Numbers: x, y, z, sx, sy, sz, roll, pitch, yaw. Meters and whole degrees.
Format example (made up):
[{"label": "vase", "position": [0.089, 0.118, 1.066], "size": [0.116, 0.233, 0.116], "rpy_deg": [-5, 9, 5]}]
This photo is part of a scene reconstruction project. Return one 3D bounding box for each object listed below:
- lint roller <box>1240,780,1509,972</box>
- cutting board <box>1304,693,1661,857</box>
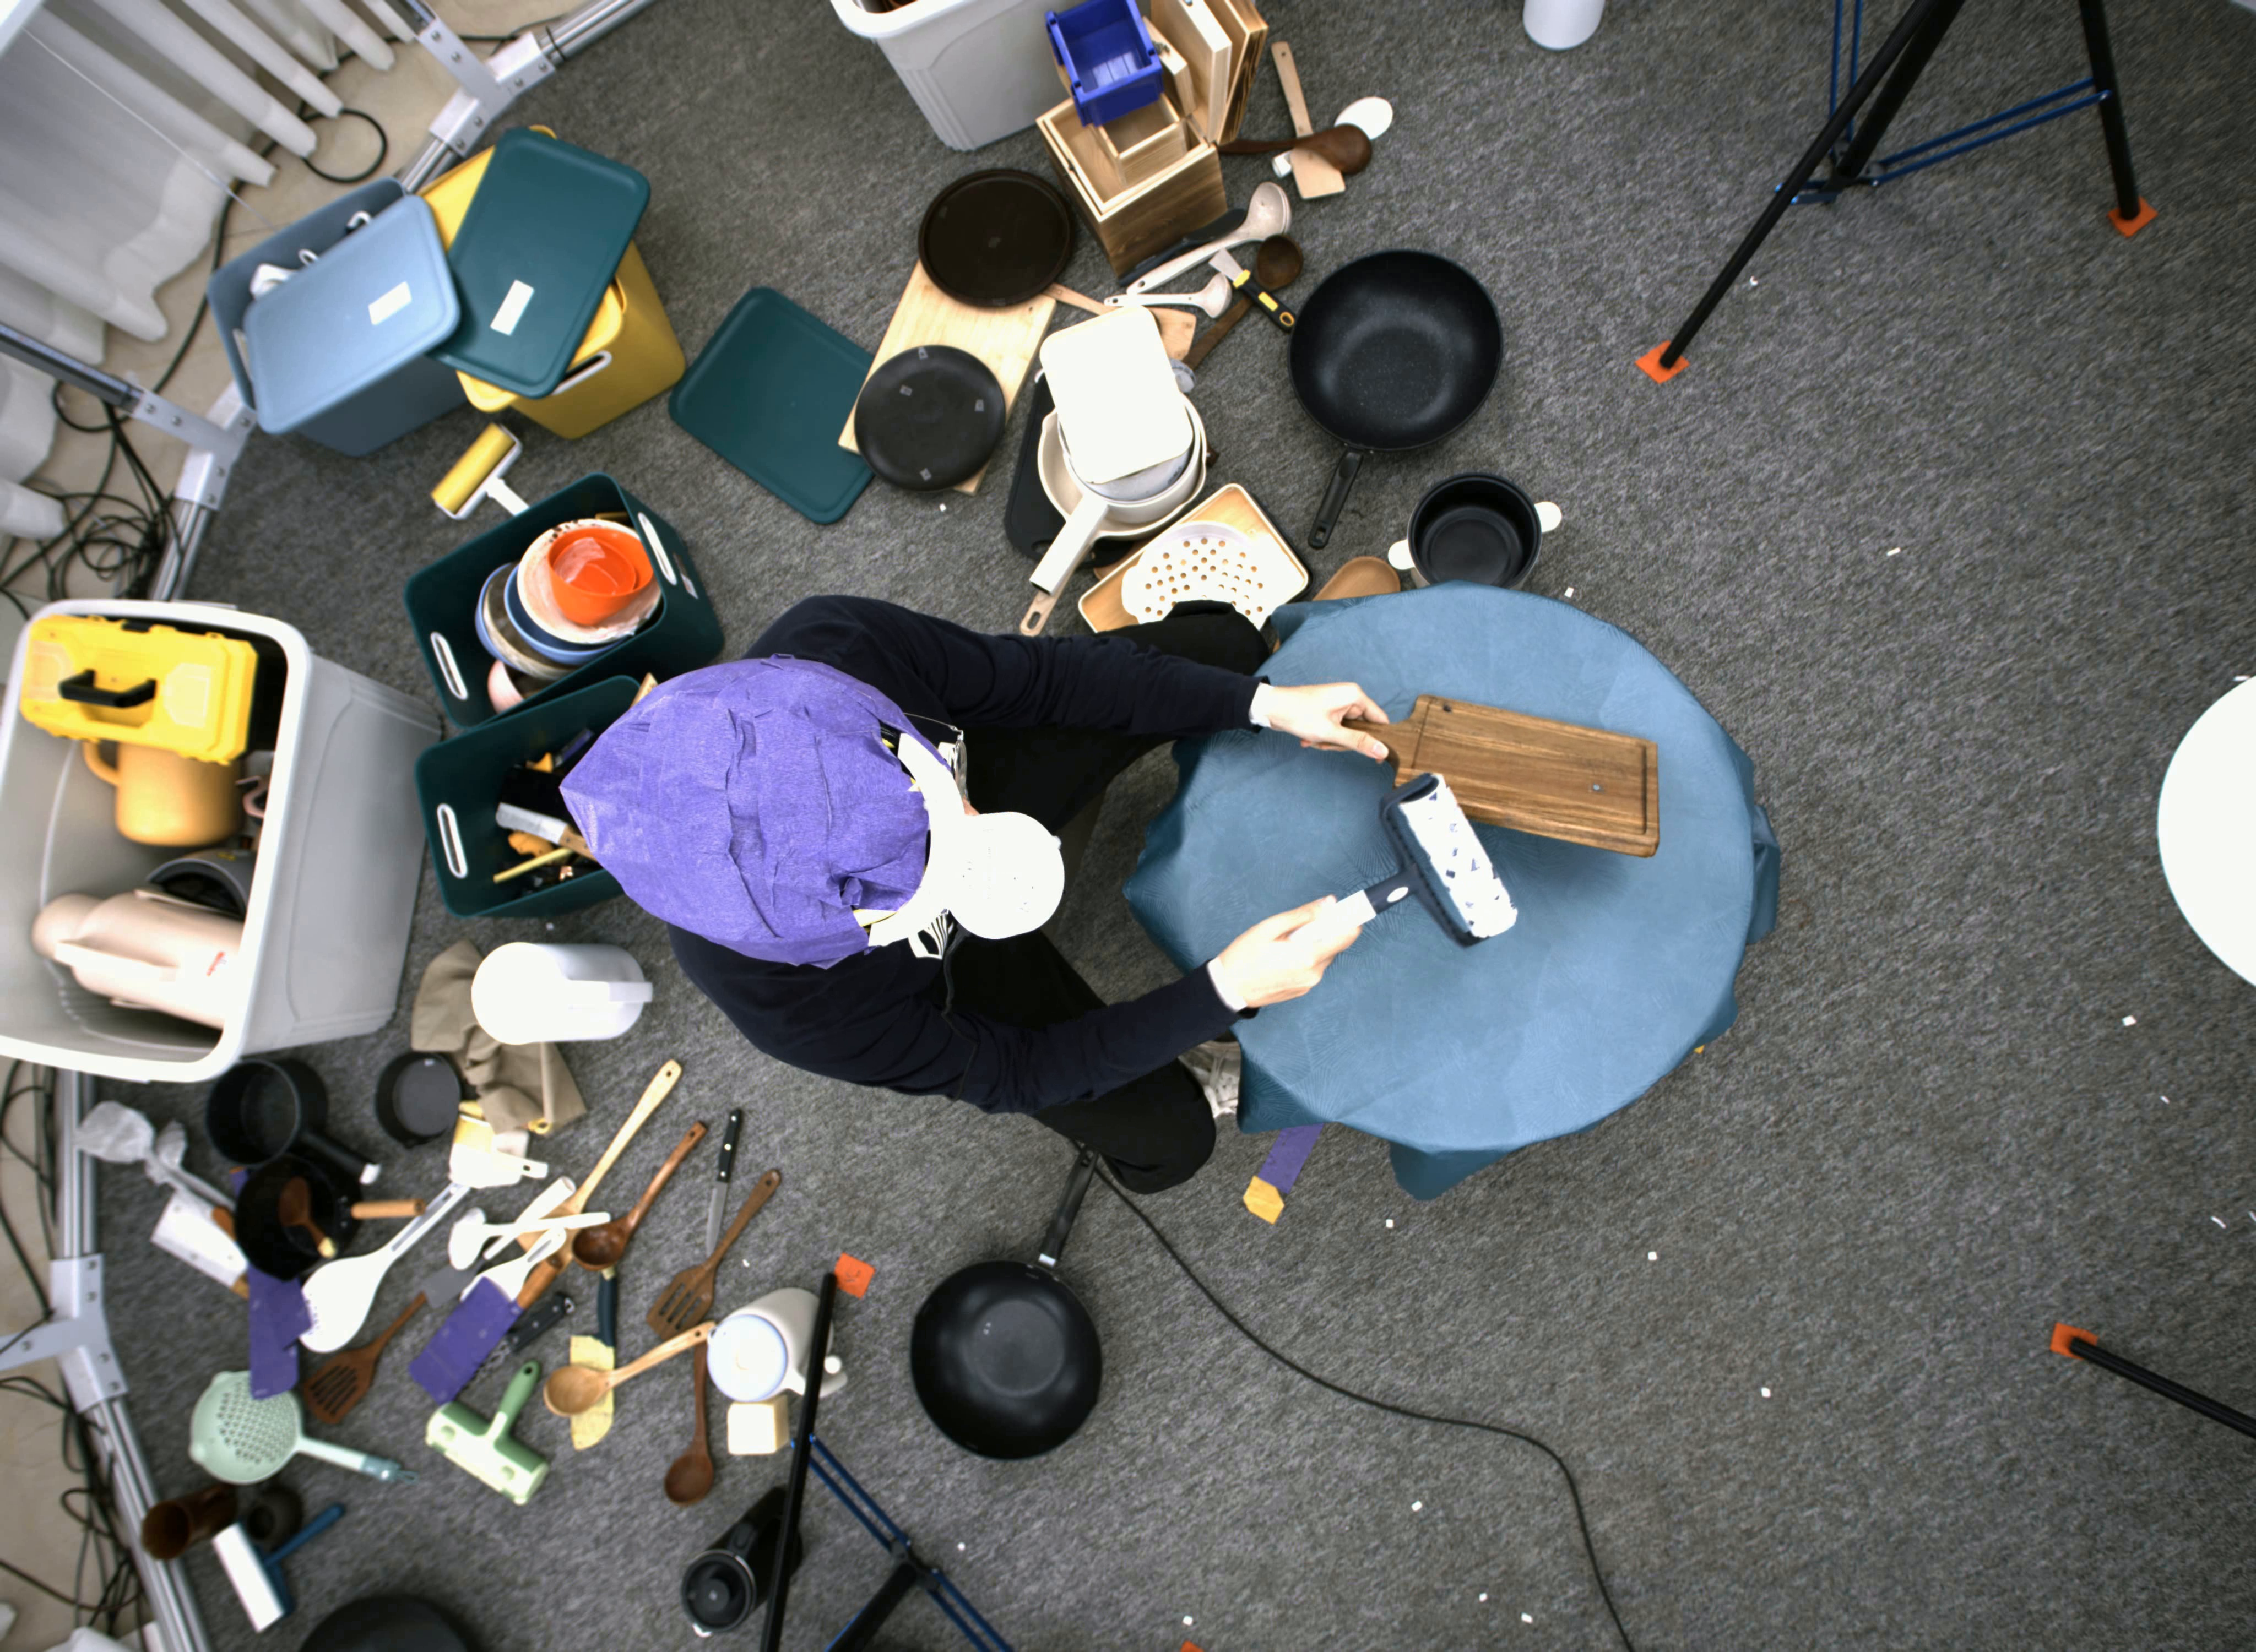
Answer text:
[{"label": "lint roller", "position": [0.216, 0.081, 1.304], "size": [0.249, 0.049, 0.178], "rpy_deg": [-30, 114, 15]}, {"label": "cutting board", "position": [0.350, -0.069, 1.371], "size": [0.353, 0.196, 0.024], "rpy_deg": [13, 127, 12]}]
